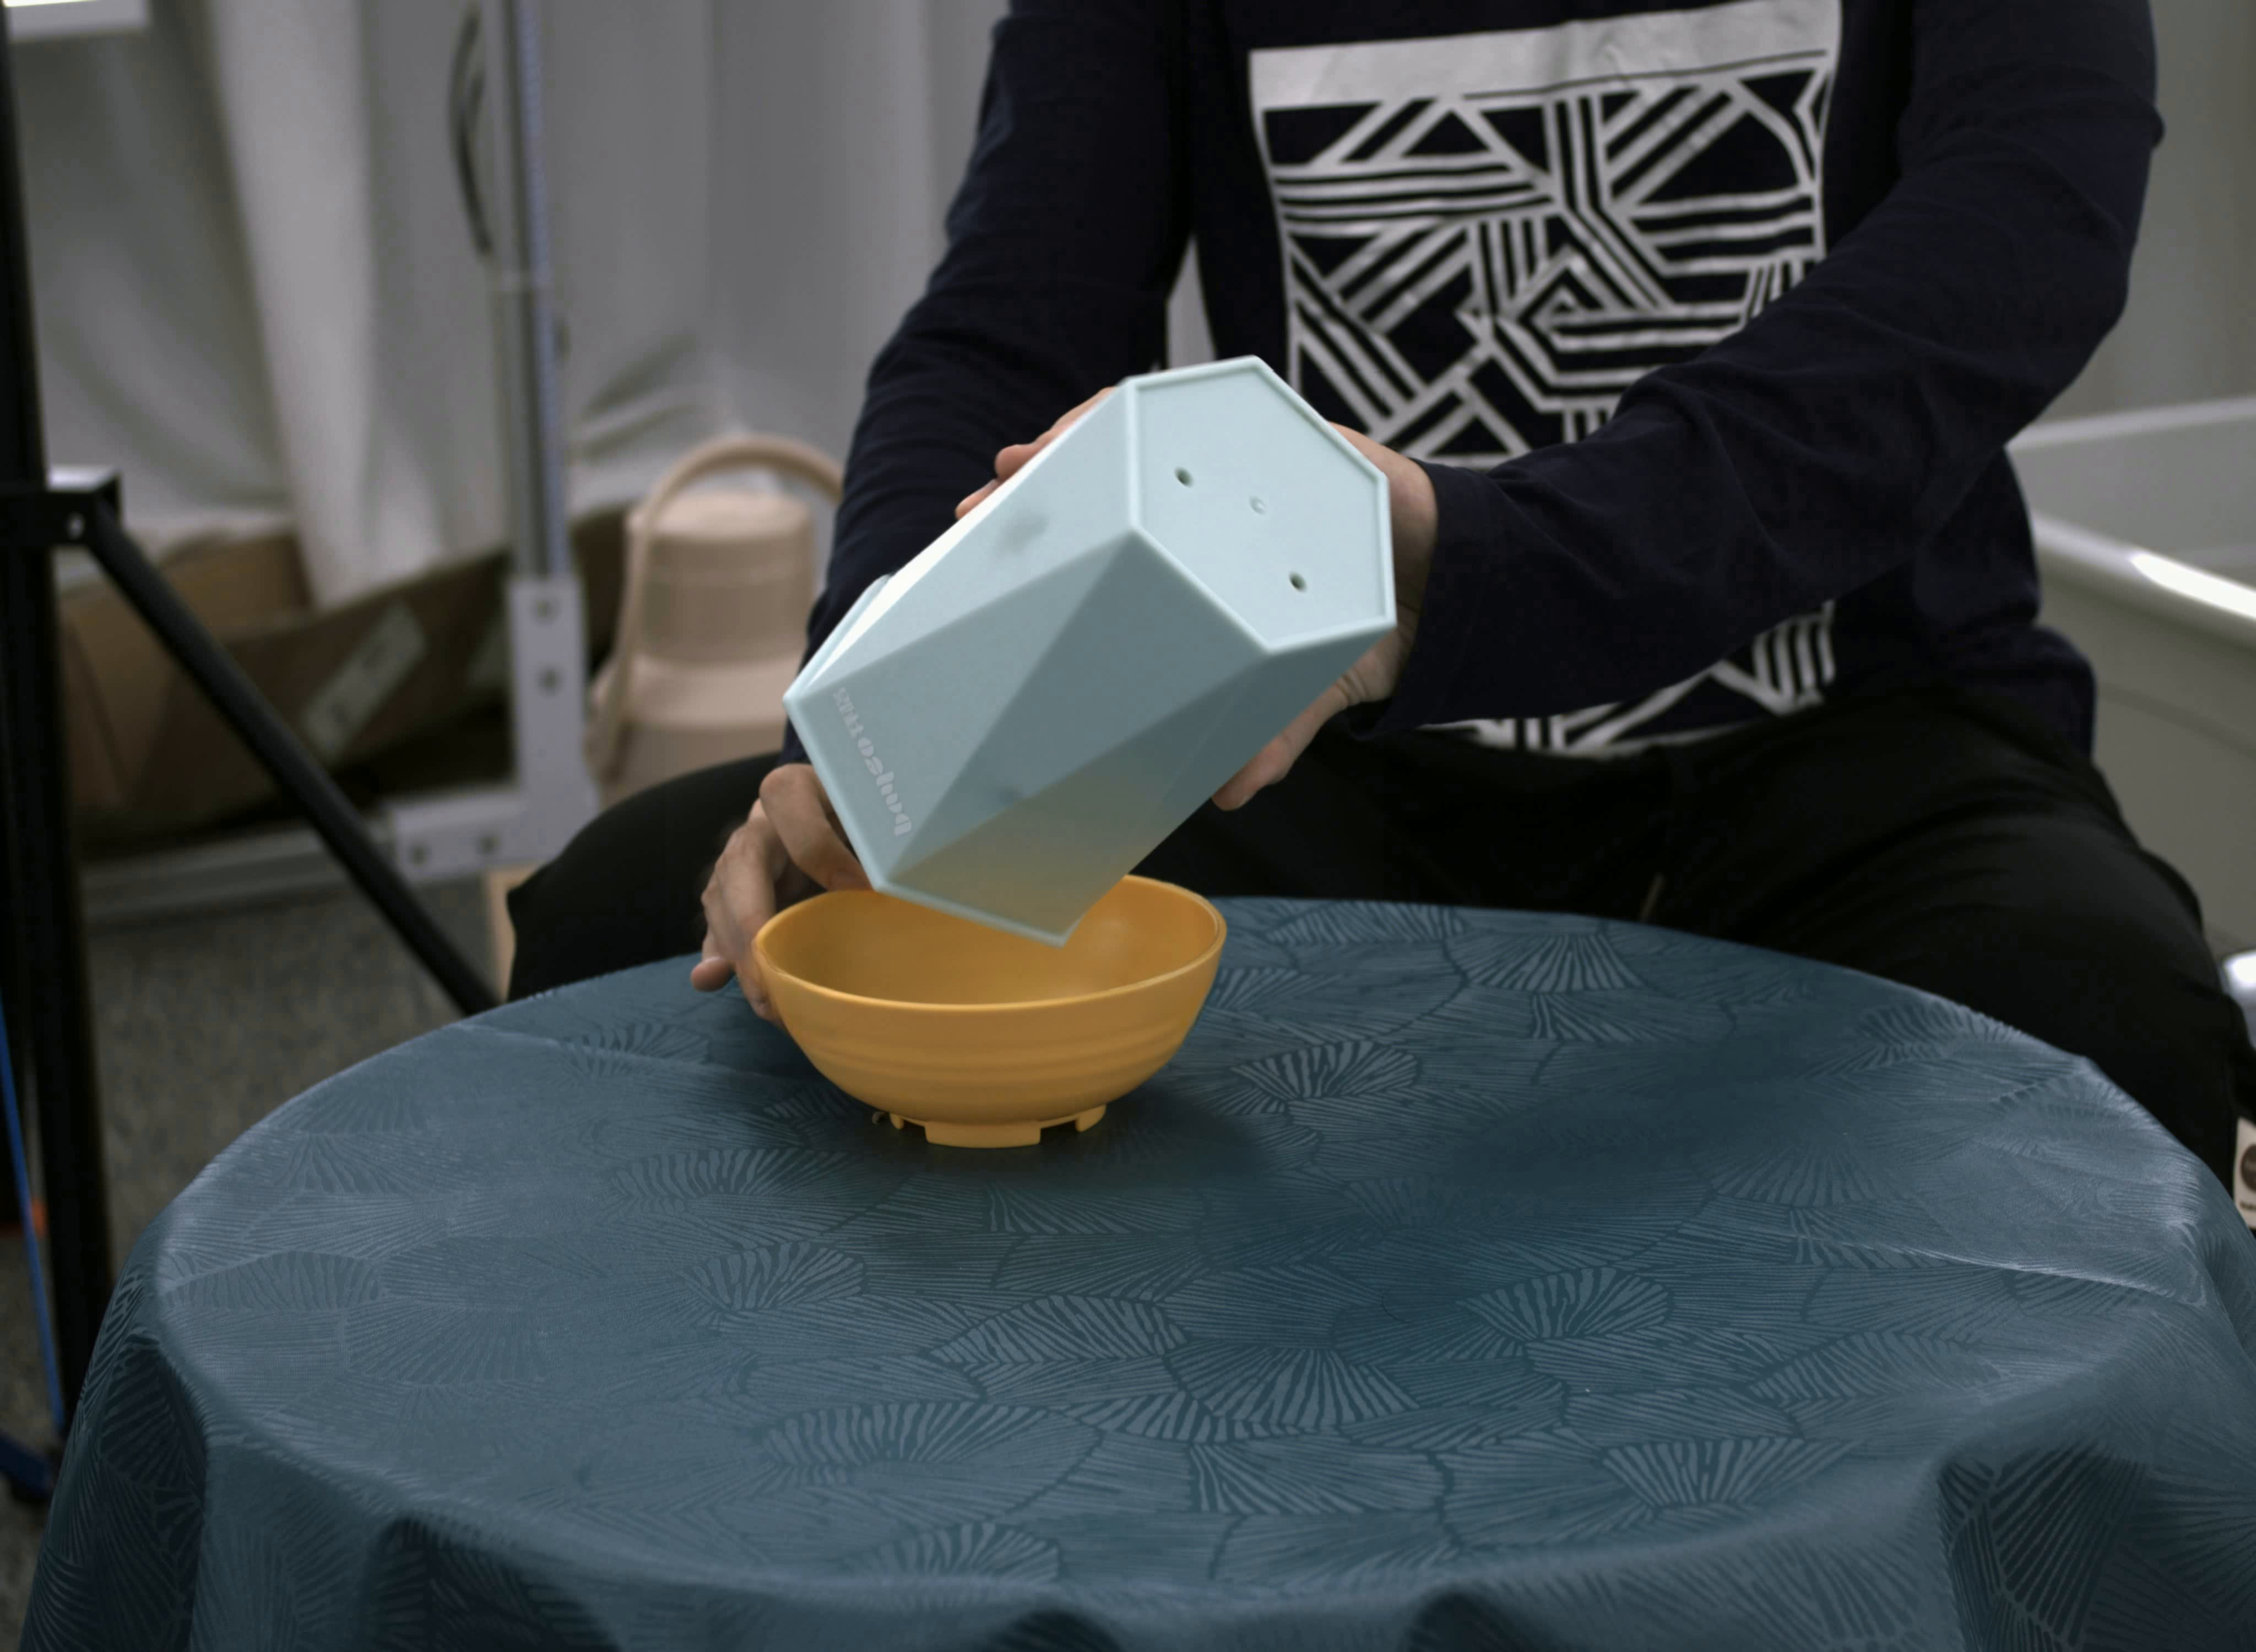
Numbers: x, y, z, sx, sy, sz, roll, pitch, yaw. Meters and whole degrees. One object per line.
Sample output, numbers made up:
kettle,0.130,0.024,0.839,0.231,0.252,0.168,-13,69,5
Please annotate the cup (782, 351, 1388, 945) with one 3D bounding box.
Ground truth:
cup,-0.007,-0.058,1.573,0.112,0.133,0.165,-11,-21,-40

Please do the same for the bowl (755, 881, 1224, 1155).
bowl,-0.042,0.063,1.631,0.144,0.060,0.146,0,14,-1
